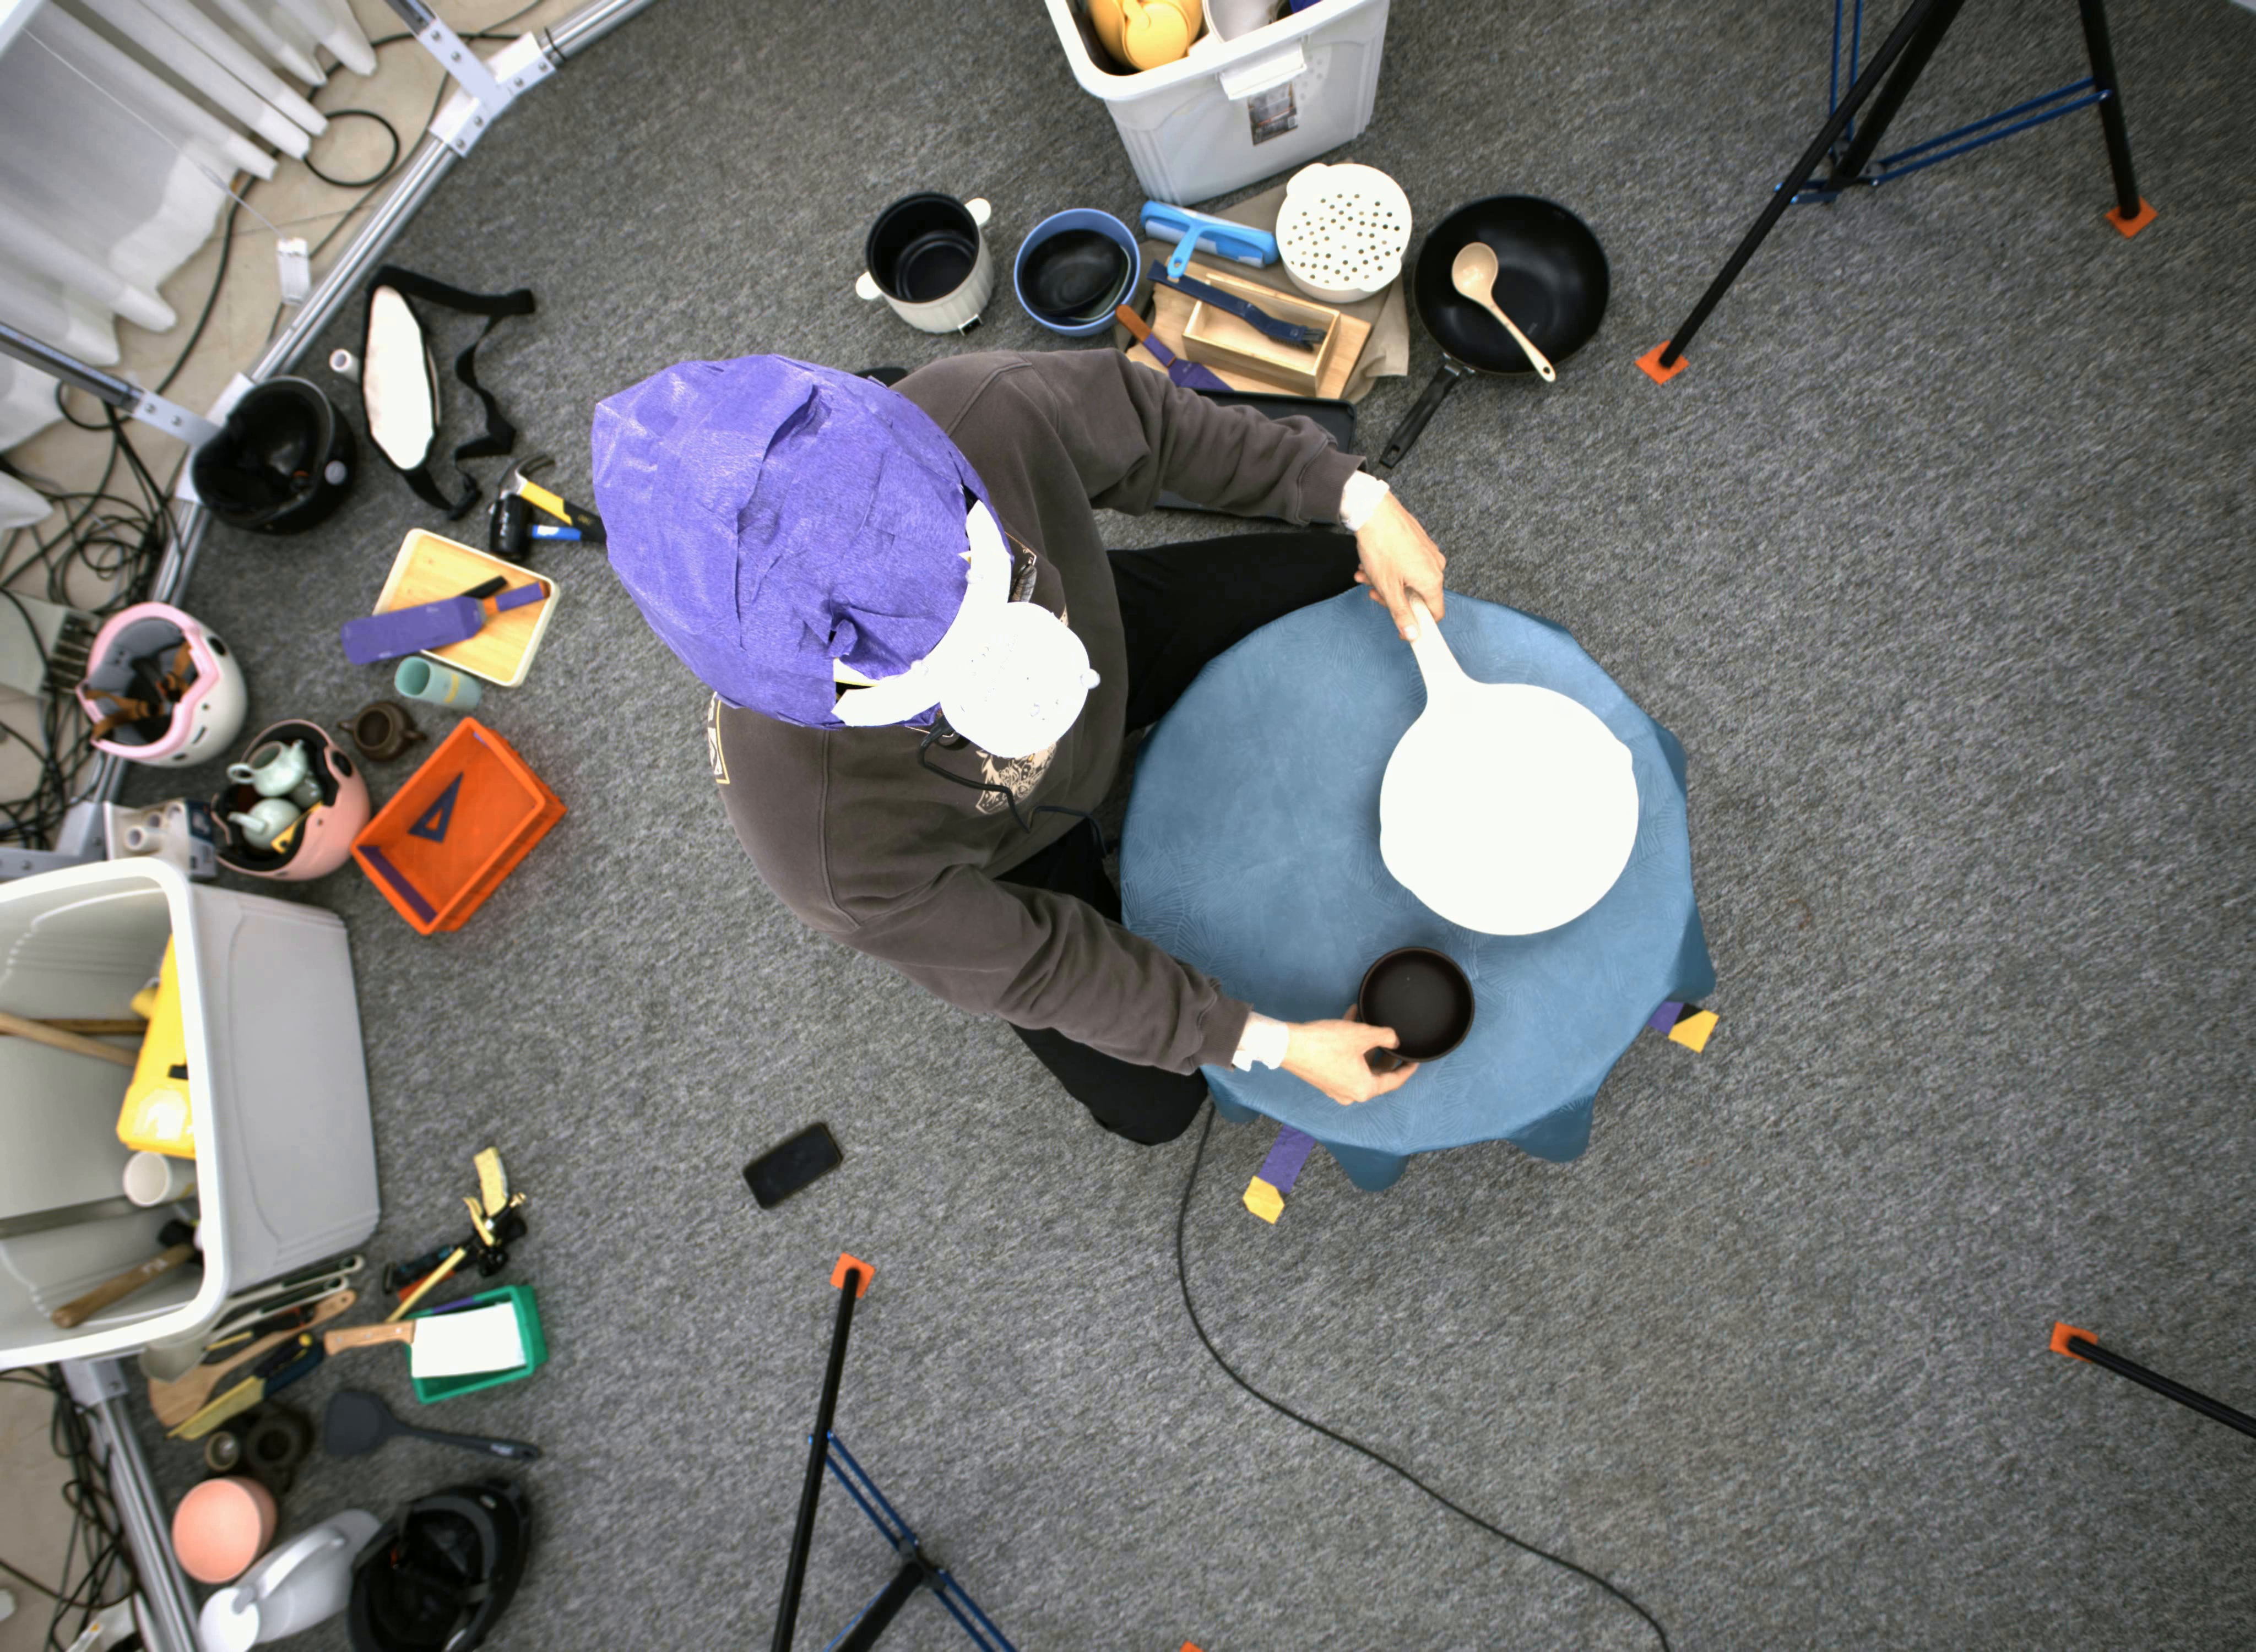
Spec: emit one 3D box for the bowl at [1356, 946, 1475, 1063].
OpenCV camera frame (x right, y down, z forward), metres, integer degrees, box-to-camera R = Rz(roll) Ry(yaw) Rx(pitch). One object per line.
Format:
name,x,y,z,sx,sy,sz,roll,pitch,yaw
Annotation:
bowl,0.292,0.180,1.411,0.118,0.070,0.117,-1,87,10

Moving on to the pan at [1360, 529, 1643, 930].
pan,0.348,-0.103,1.402,0.265,0.102,0.432,-26,83,10
